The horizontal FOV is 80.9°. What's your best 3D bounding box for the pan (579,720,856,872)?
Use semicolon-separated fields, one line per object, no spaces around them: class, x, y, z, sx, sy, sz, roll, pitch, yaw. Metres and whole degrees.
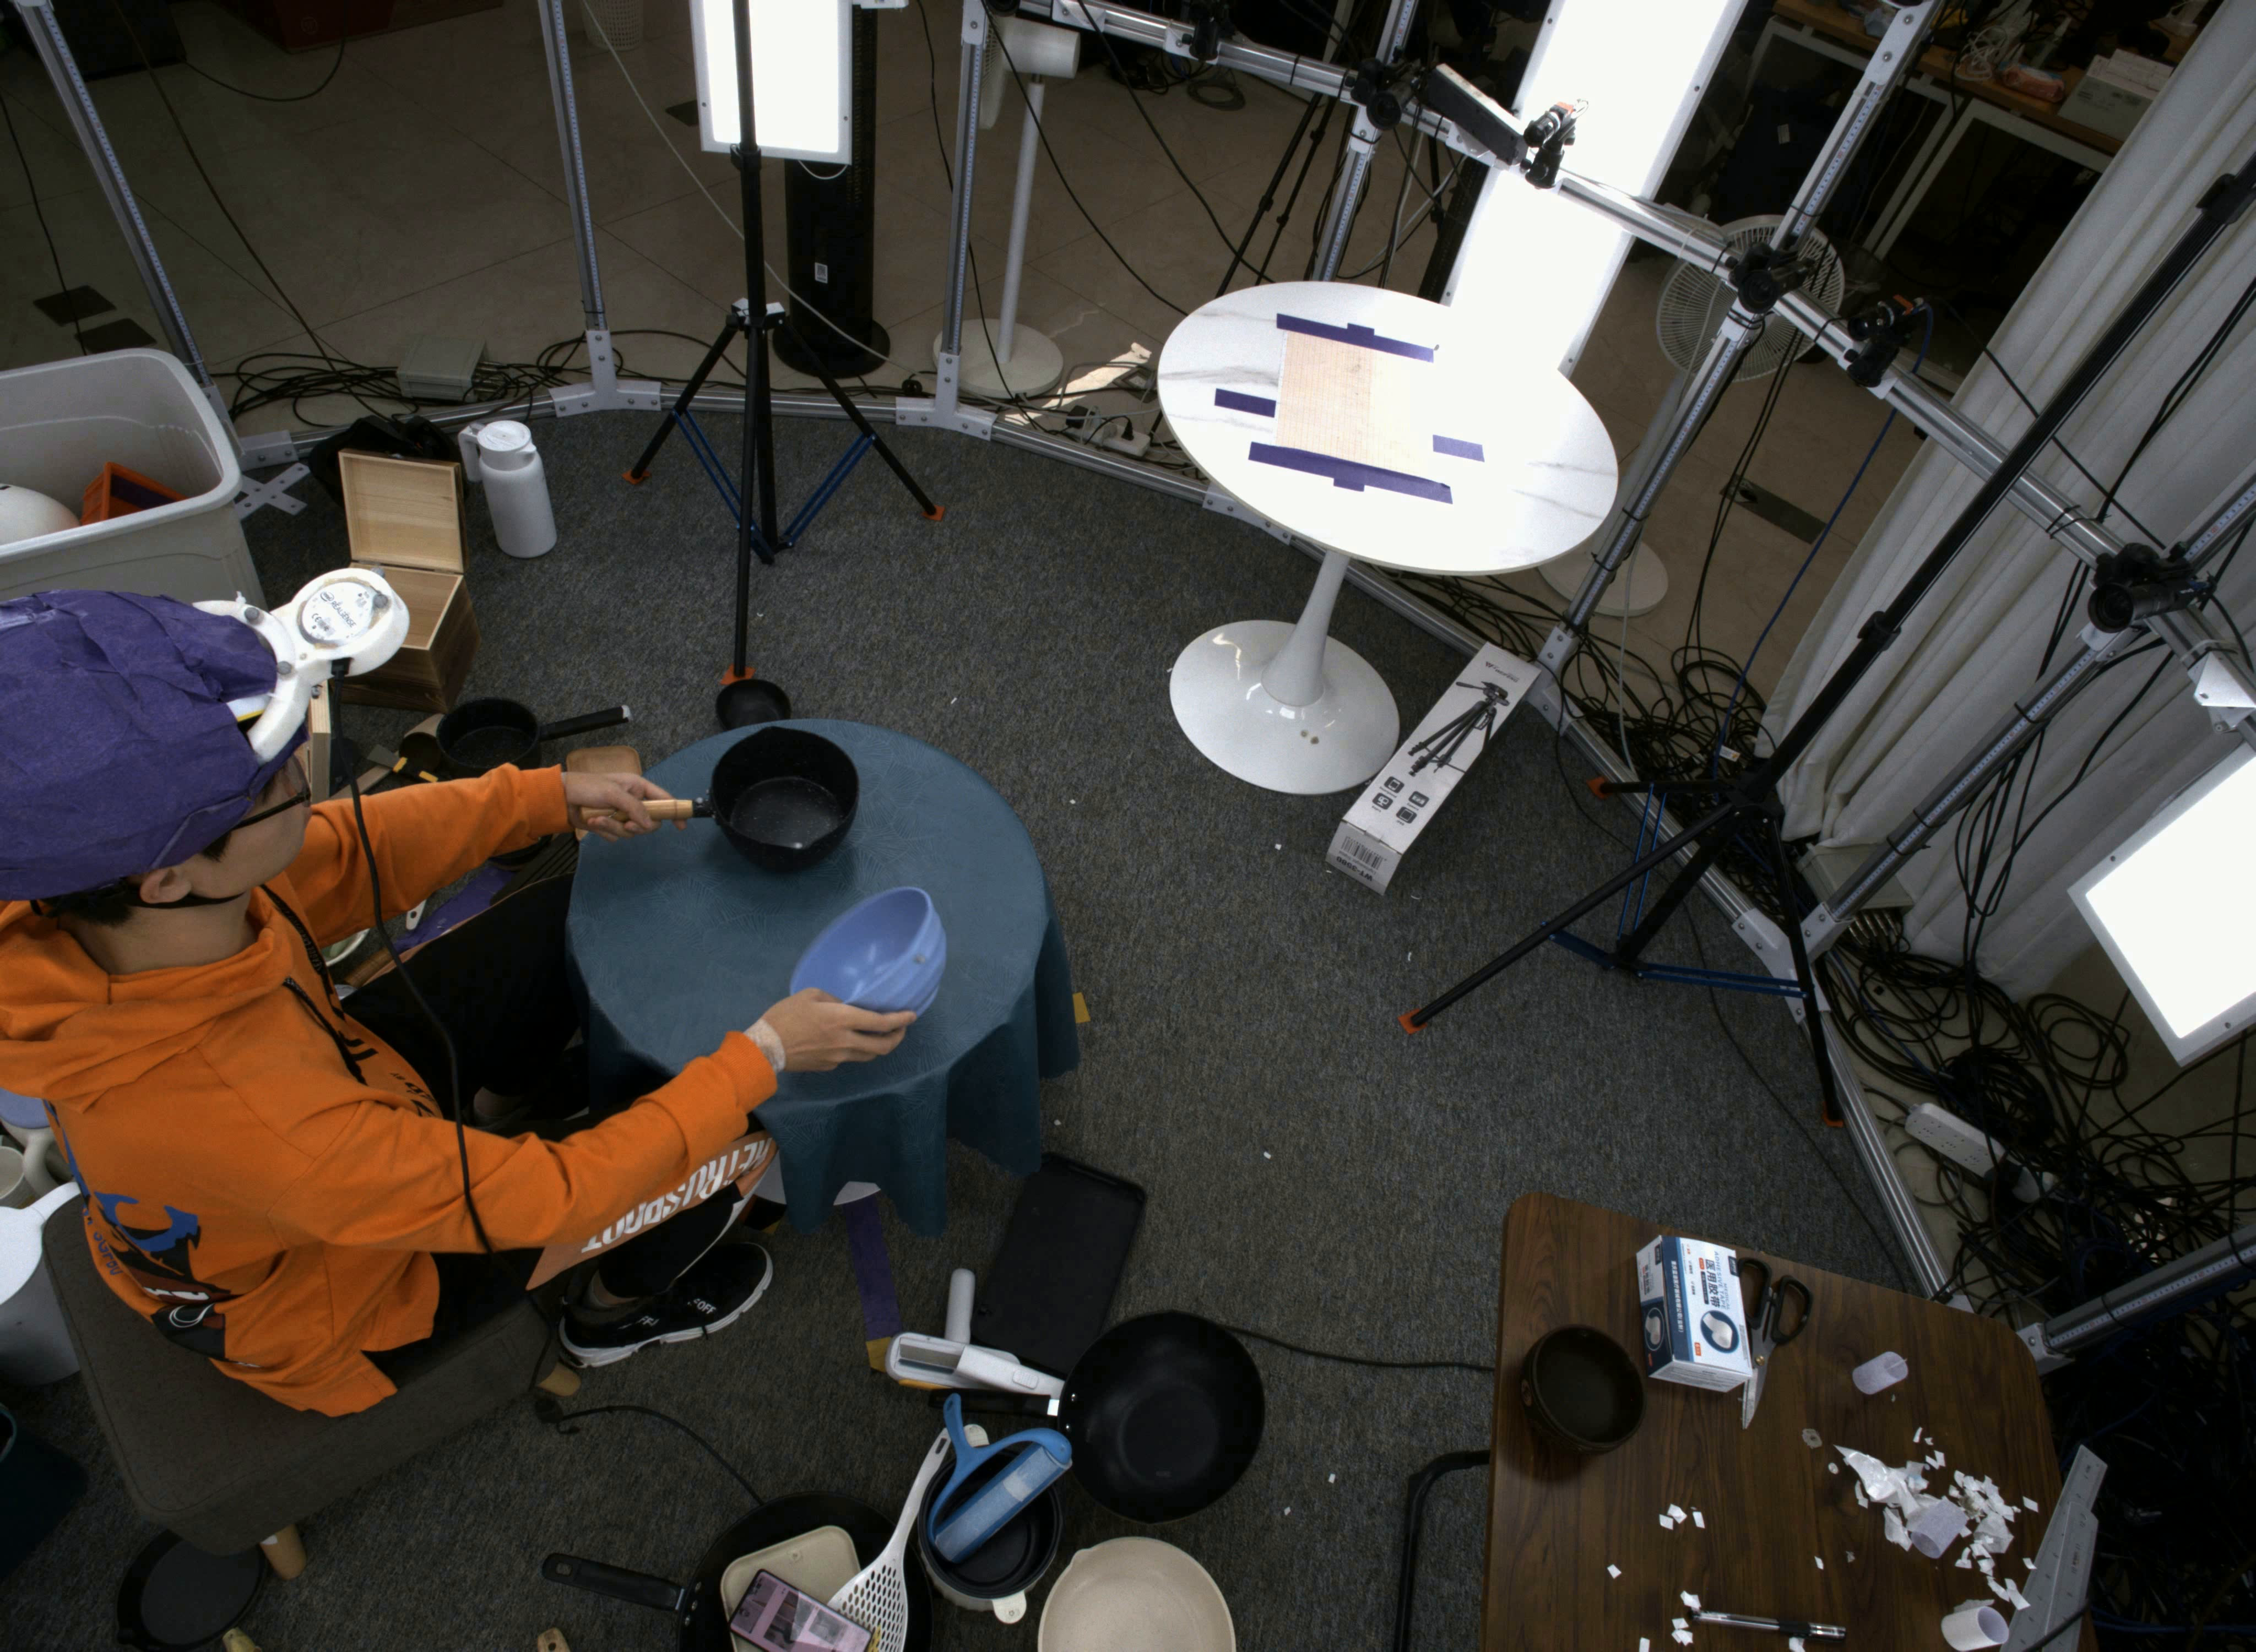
pan;-0.511;-0.020;1.611;0.345;0.110;0.203;-12;61;-24

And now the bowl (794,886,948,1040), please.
bowl;-0.277;0.171;1.486;0.098;0.192;0.195;51;46;-24
